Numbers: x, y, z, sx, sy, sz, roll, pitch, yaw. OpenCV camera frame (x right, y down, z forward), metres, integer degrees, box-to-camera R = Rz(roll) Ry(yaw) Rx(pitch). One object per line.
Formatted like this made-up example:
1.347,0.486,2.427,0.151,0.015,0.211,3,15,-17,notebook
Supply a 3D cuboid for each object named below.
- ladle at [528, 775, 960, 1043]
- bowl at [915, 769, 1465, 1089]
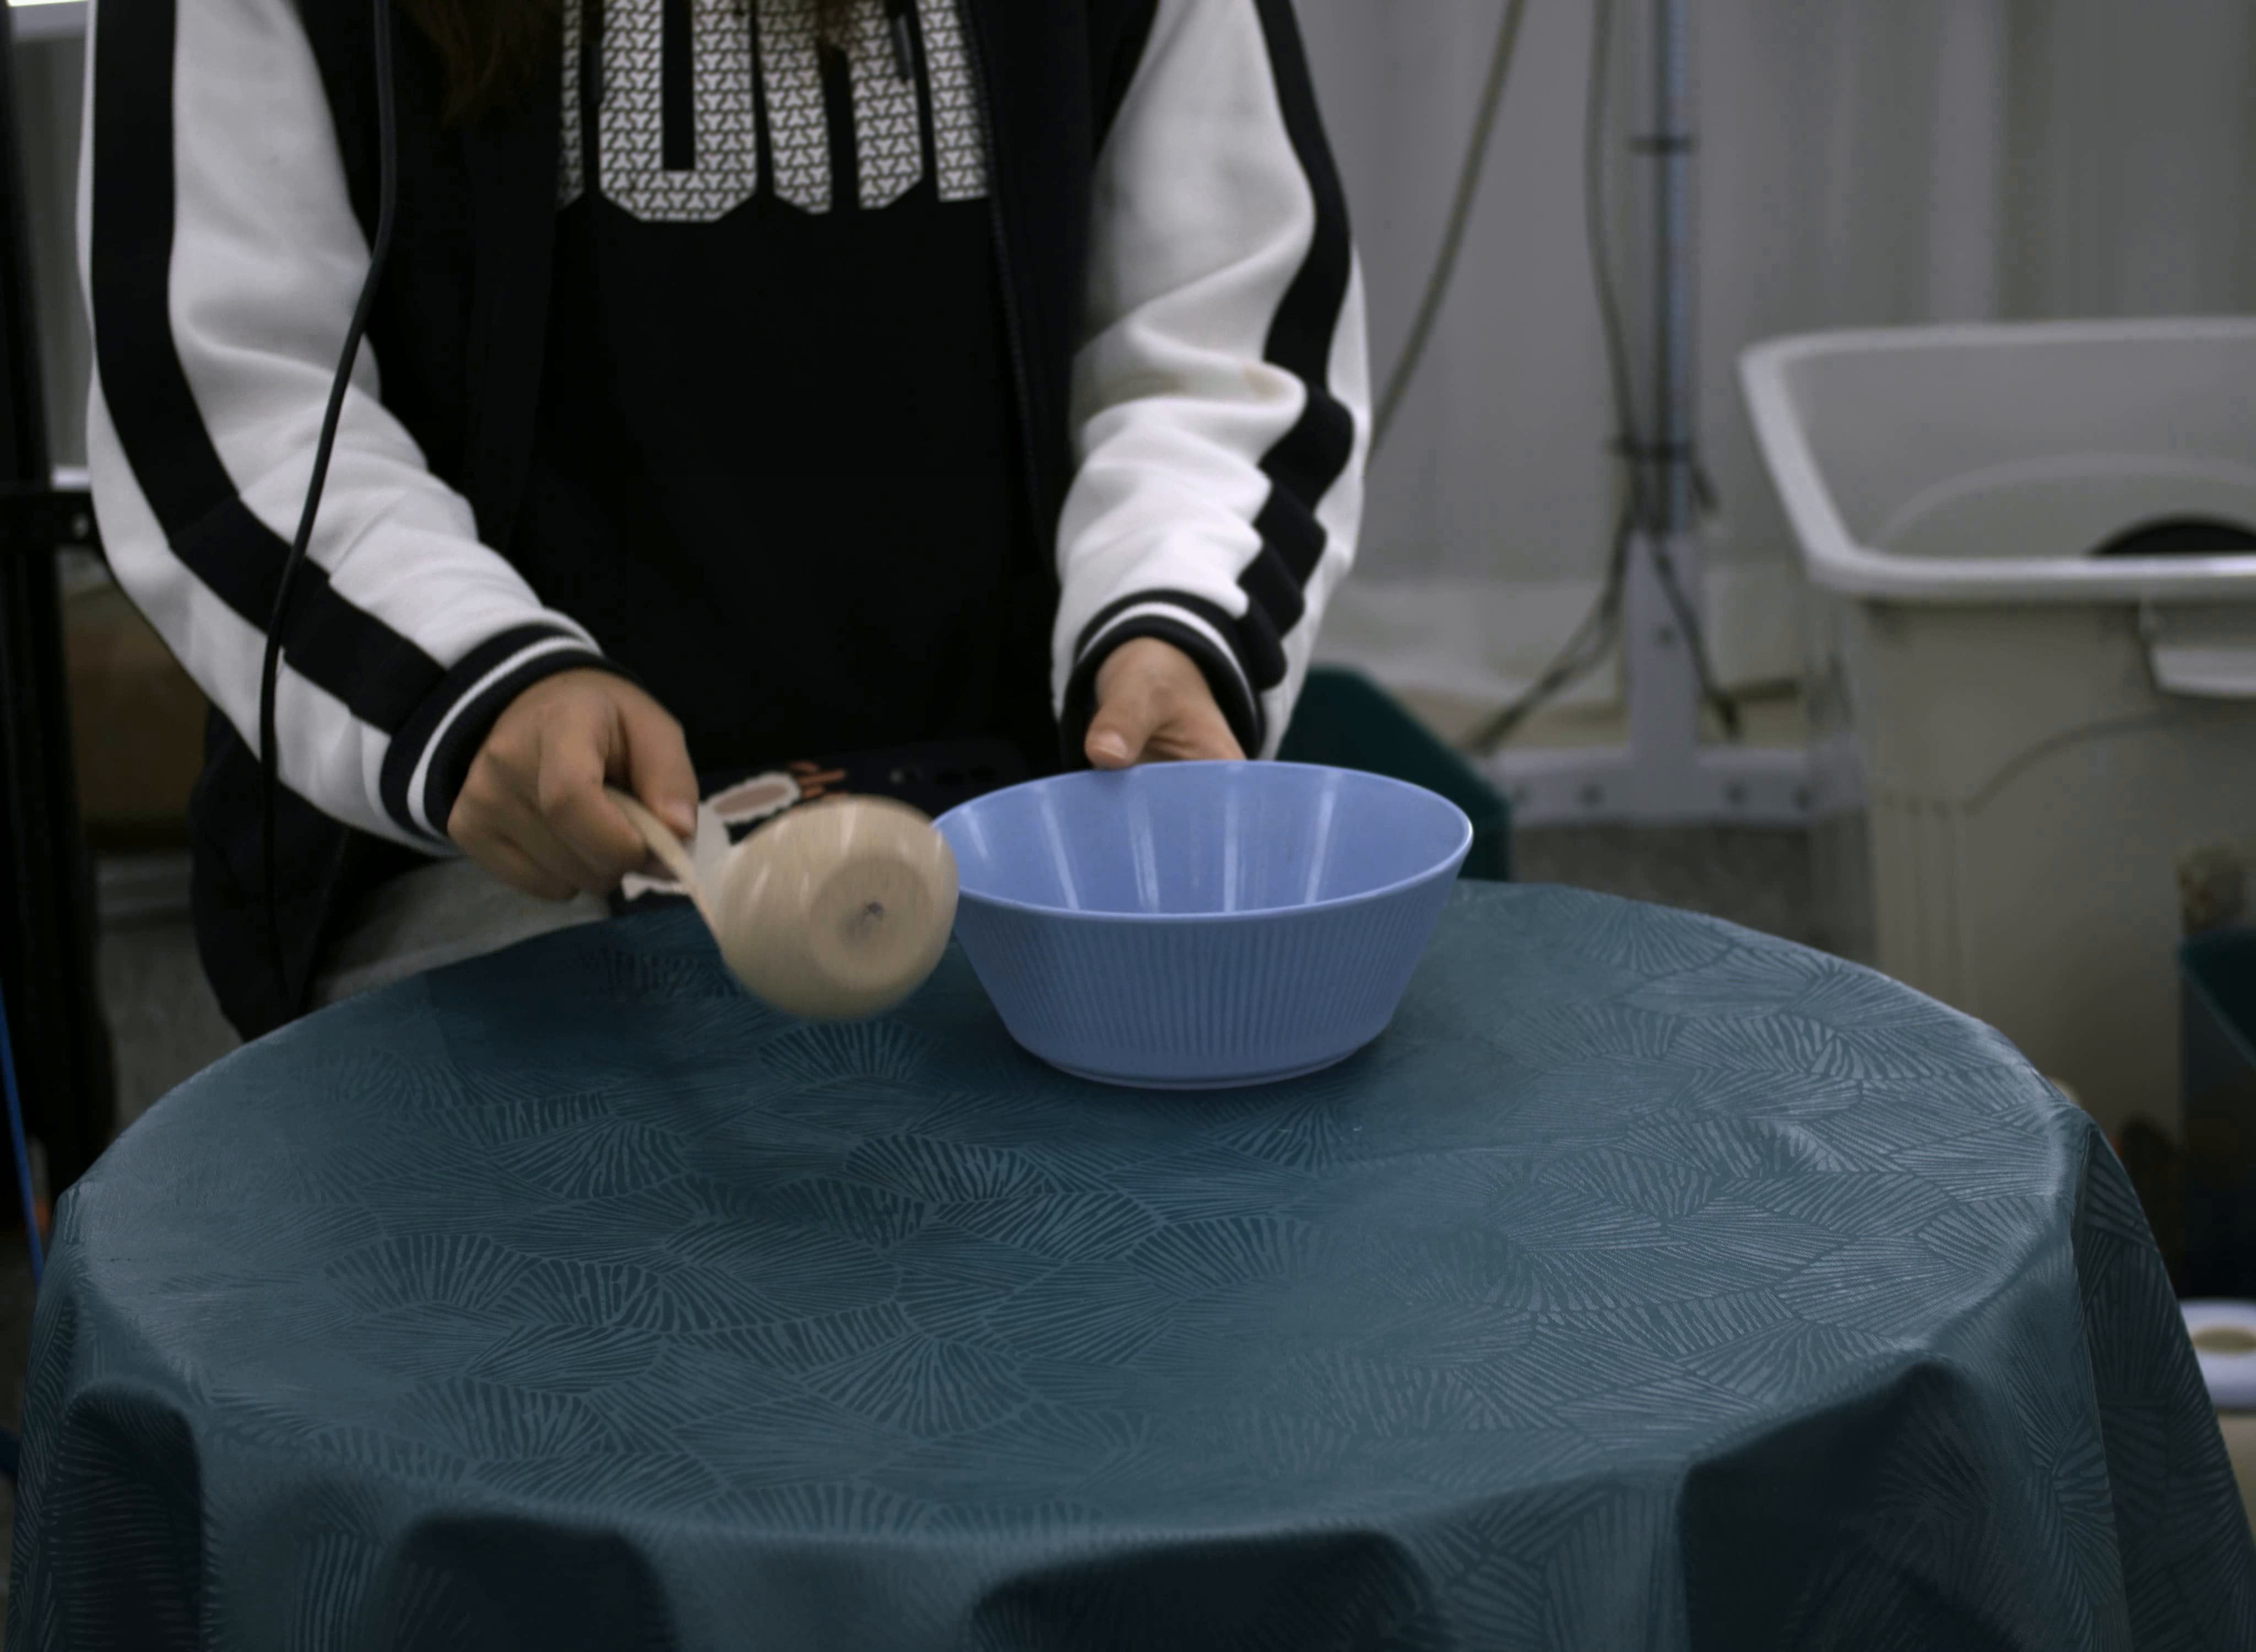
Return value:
-0.124,-0.004,1.635,0.070,0.073,0.259,22,8,-30,ladle
0.019,0.035,1.686,0.175,0.070,0.177,-2,16,-1,bowl
